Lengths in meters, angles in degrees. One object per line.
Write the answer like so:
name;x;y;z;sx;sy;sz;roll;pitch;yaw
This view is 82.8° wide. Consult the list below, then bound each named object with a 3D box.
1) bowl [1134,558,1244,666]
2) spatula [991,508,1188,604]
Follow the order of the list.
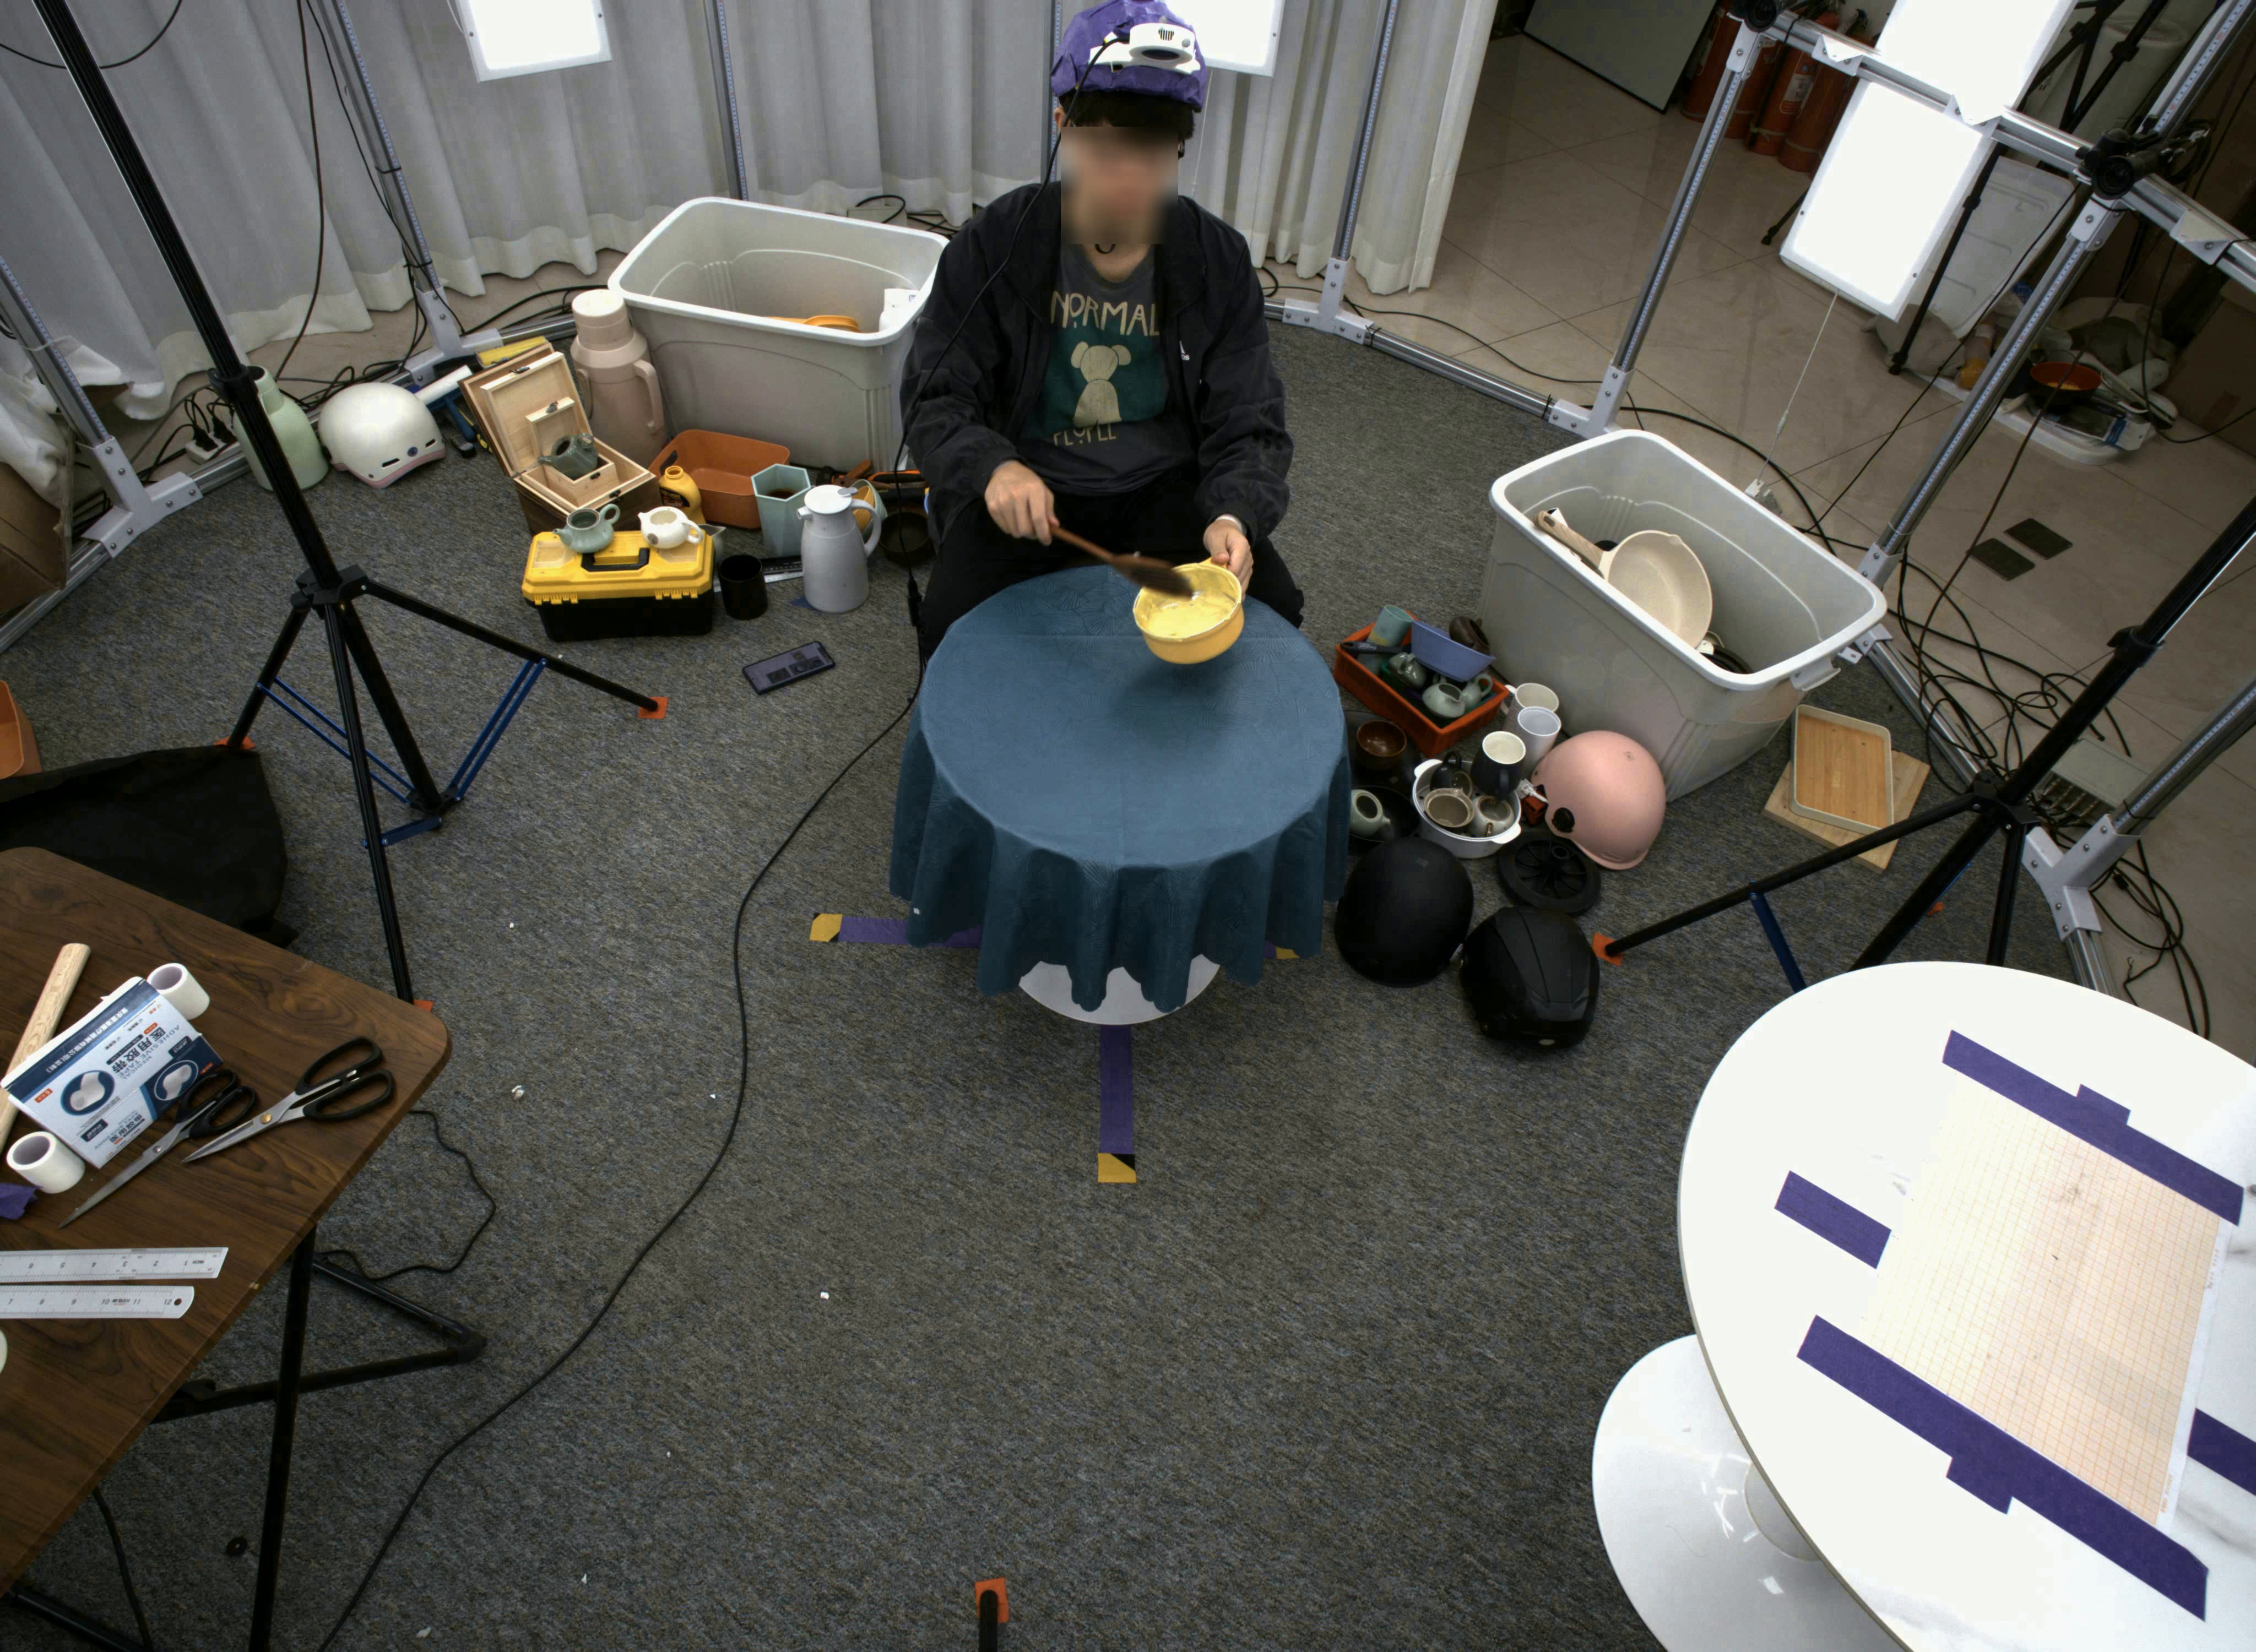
bowl;0.097;-0.300;1.804;0.154;0.072;0.182;12;55;27
spatula;-0.068;-0.385;1.805;0.393;0.084;0.024;32;82;38
